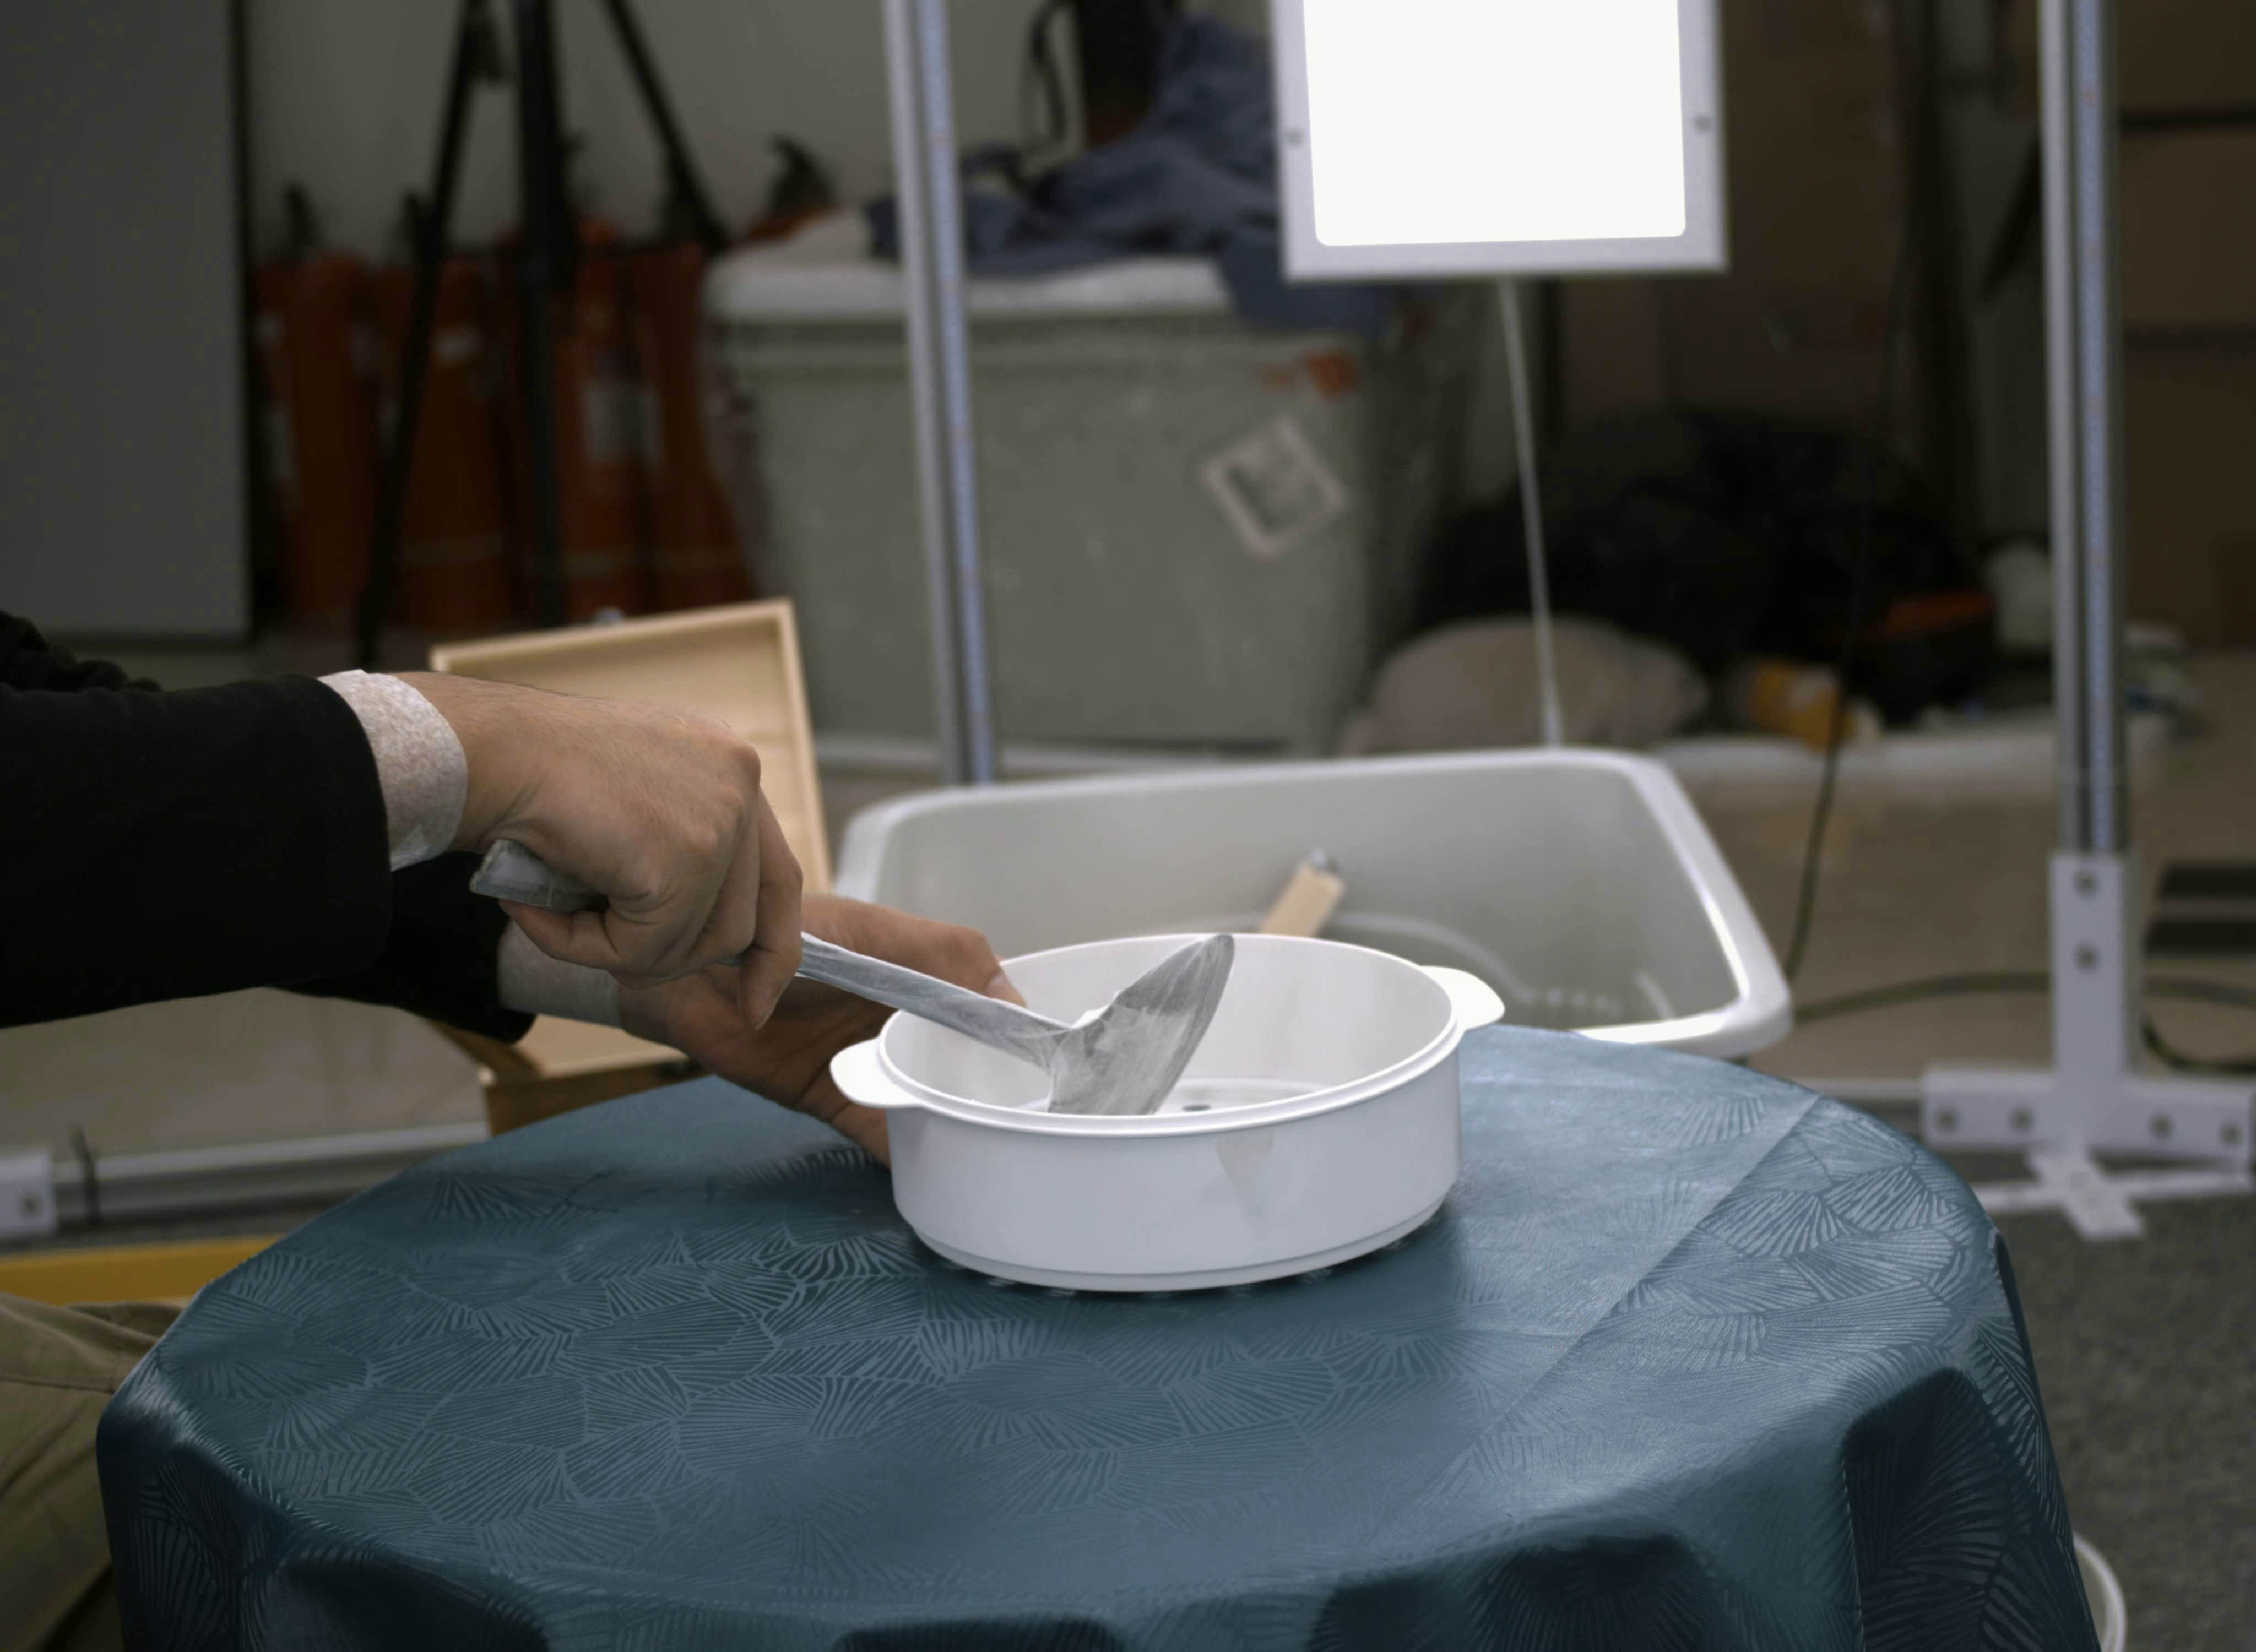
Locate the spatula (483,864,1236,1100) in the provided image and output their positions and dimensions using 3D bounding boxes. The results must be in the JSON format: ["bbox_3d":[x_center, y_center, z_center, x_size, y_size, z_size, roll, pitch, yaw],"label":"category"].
[{"bbox_3d":[-0.081,0.049,1.749,0.357,0.099,0.045,20,16,-47],"label":"spatula"}]

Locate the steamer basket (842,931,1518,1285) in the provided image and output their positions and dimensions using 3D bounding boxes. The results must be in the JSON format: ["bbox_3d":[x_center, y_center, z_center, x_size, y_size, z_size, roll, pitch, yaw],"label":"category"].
[{"bbox_3d":[0.020,0.095,1.861,0.228,0.069,0.203,-8,15,-9],"label":"steamer basket"}]
